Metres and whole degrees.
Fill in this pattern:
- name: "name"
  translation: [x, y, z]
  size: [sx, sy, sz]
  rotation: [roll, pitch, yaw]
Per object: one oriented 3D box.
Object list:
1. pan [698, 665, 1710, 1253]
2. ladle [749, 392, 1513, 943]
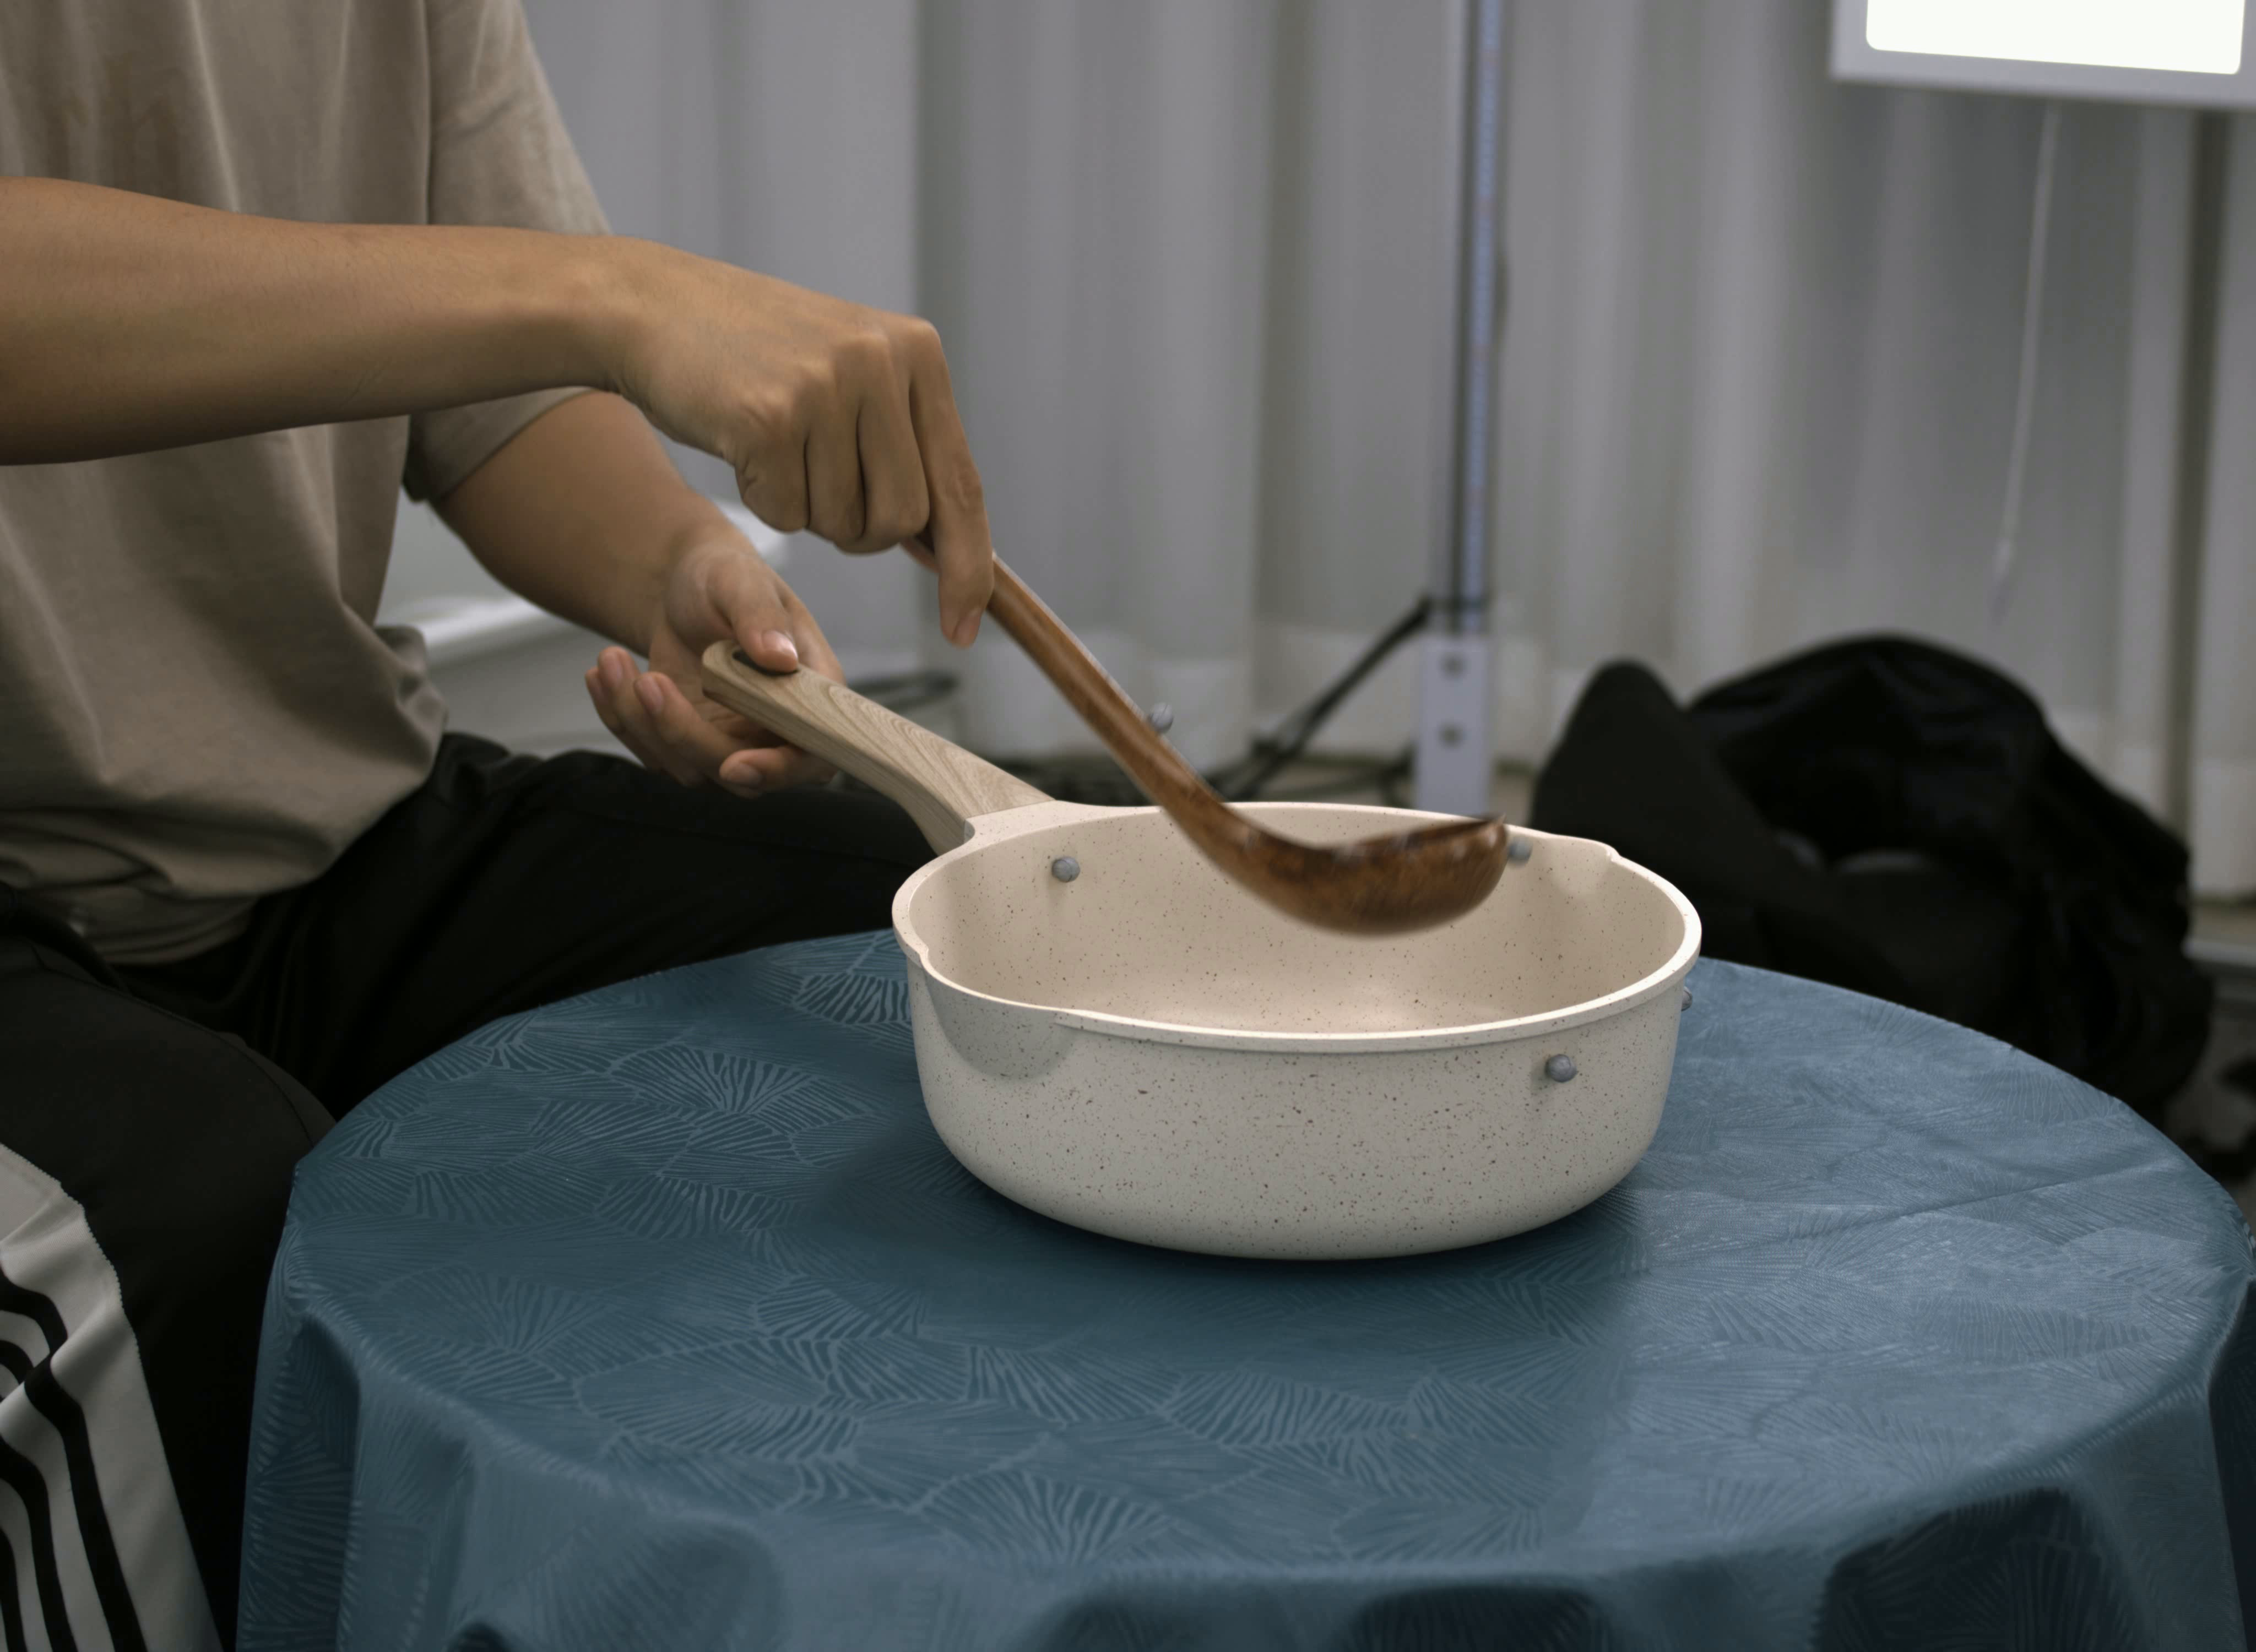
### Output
- name: "pan"
  translation: [-0.003, 0.036, 1.712]
  size: [0.264, 0.103, 0.429]
  rotation: [-14, 21, -38]
- name: "ladle"
  translation: [0.006, -0.060, 1.645]
  size: [0.076, 0.275, 0.081]
  rotation: [-47, 8, -11]
